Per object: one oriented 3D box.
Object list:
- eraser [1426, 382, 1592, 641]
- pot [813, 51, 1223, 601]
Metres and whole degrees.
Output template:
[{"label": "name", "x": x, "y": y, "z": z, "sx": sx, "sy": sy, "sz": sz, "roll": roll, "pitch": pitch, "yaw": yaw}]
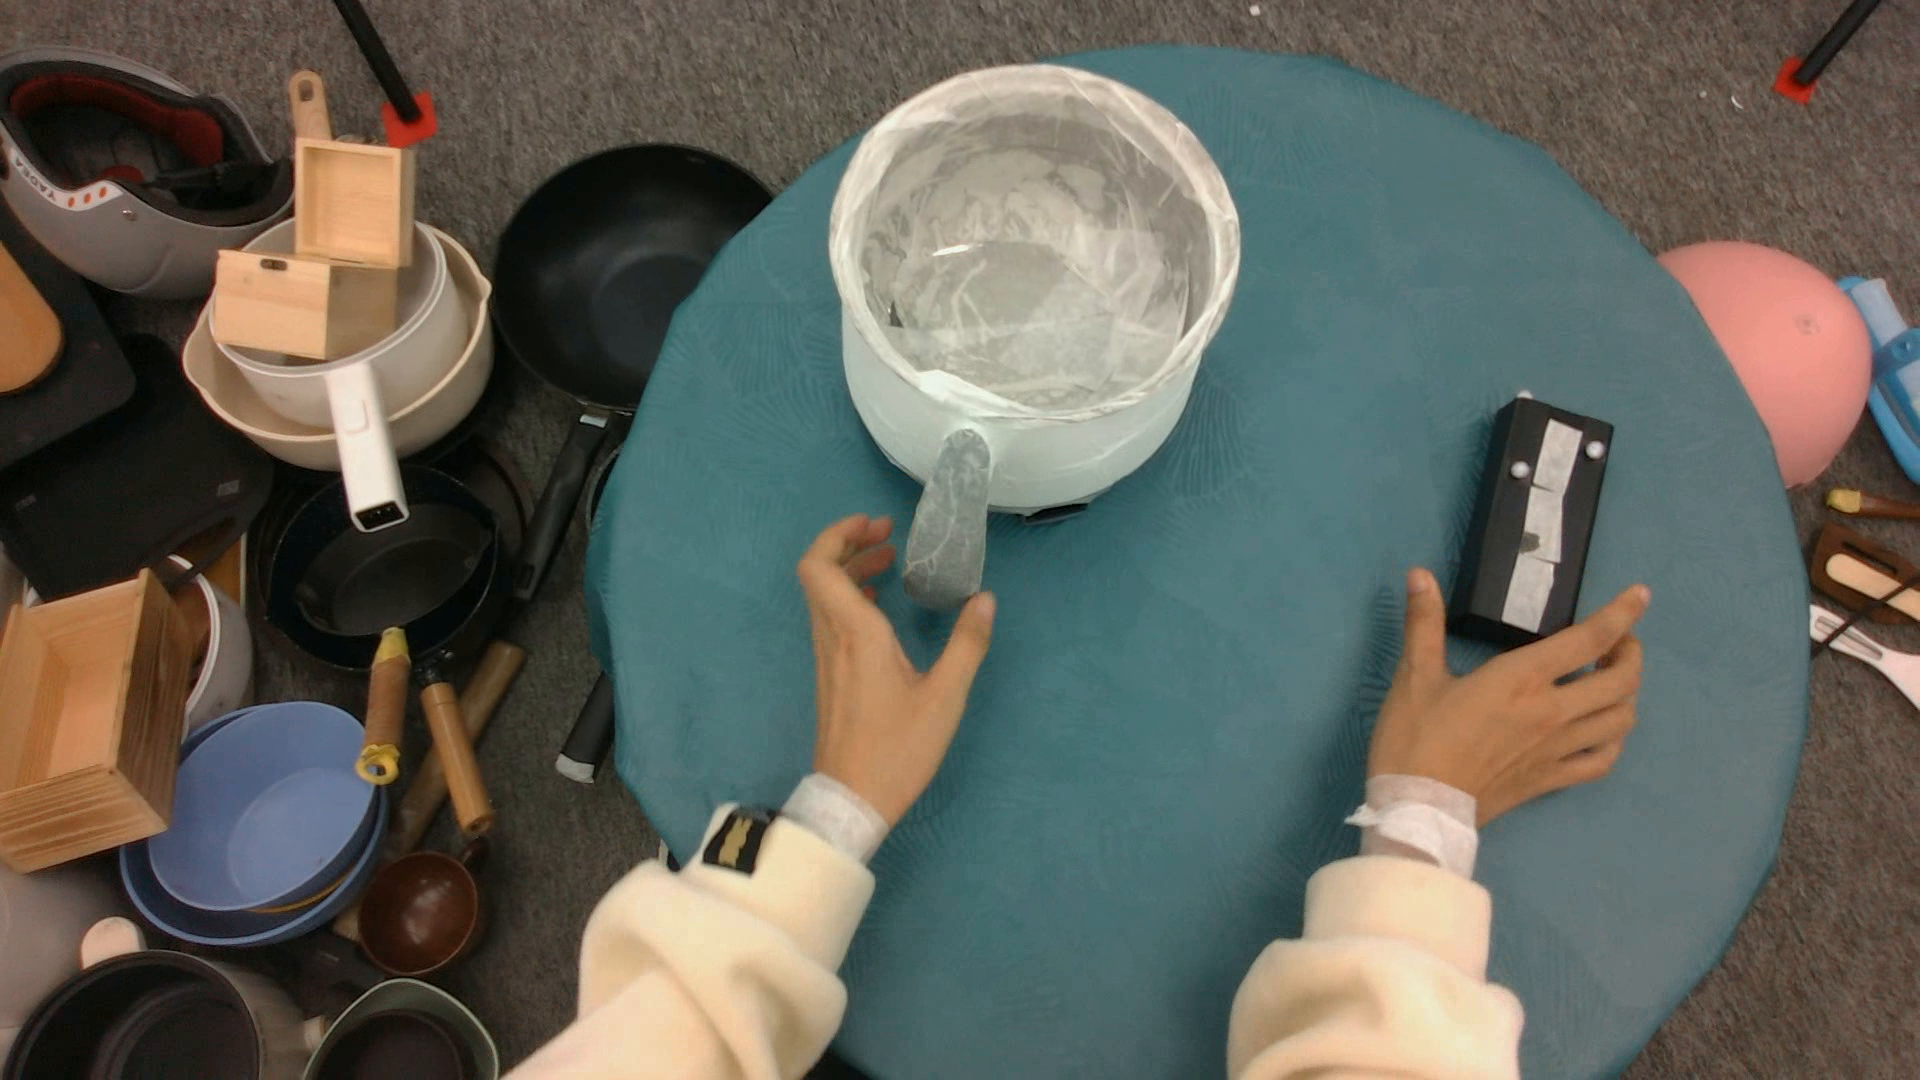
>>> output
[{"label": "eraser", "x": 0.273, "y": -0.015, "z": 0.685, "sx": 0.053, "sy": 0.030, "sz": 0.126, "roll": 19, "pitch": 72, "yaw": 5}, {"label": "pot", "x": 0.016, "y": -0.091, "z": 0.642, "sx": 0.178, "sy": 0.136, "sz": 0.234, "roll": 15, "pitch": 71, "yaw": 3}]
